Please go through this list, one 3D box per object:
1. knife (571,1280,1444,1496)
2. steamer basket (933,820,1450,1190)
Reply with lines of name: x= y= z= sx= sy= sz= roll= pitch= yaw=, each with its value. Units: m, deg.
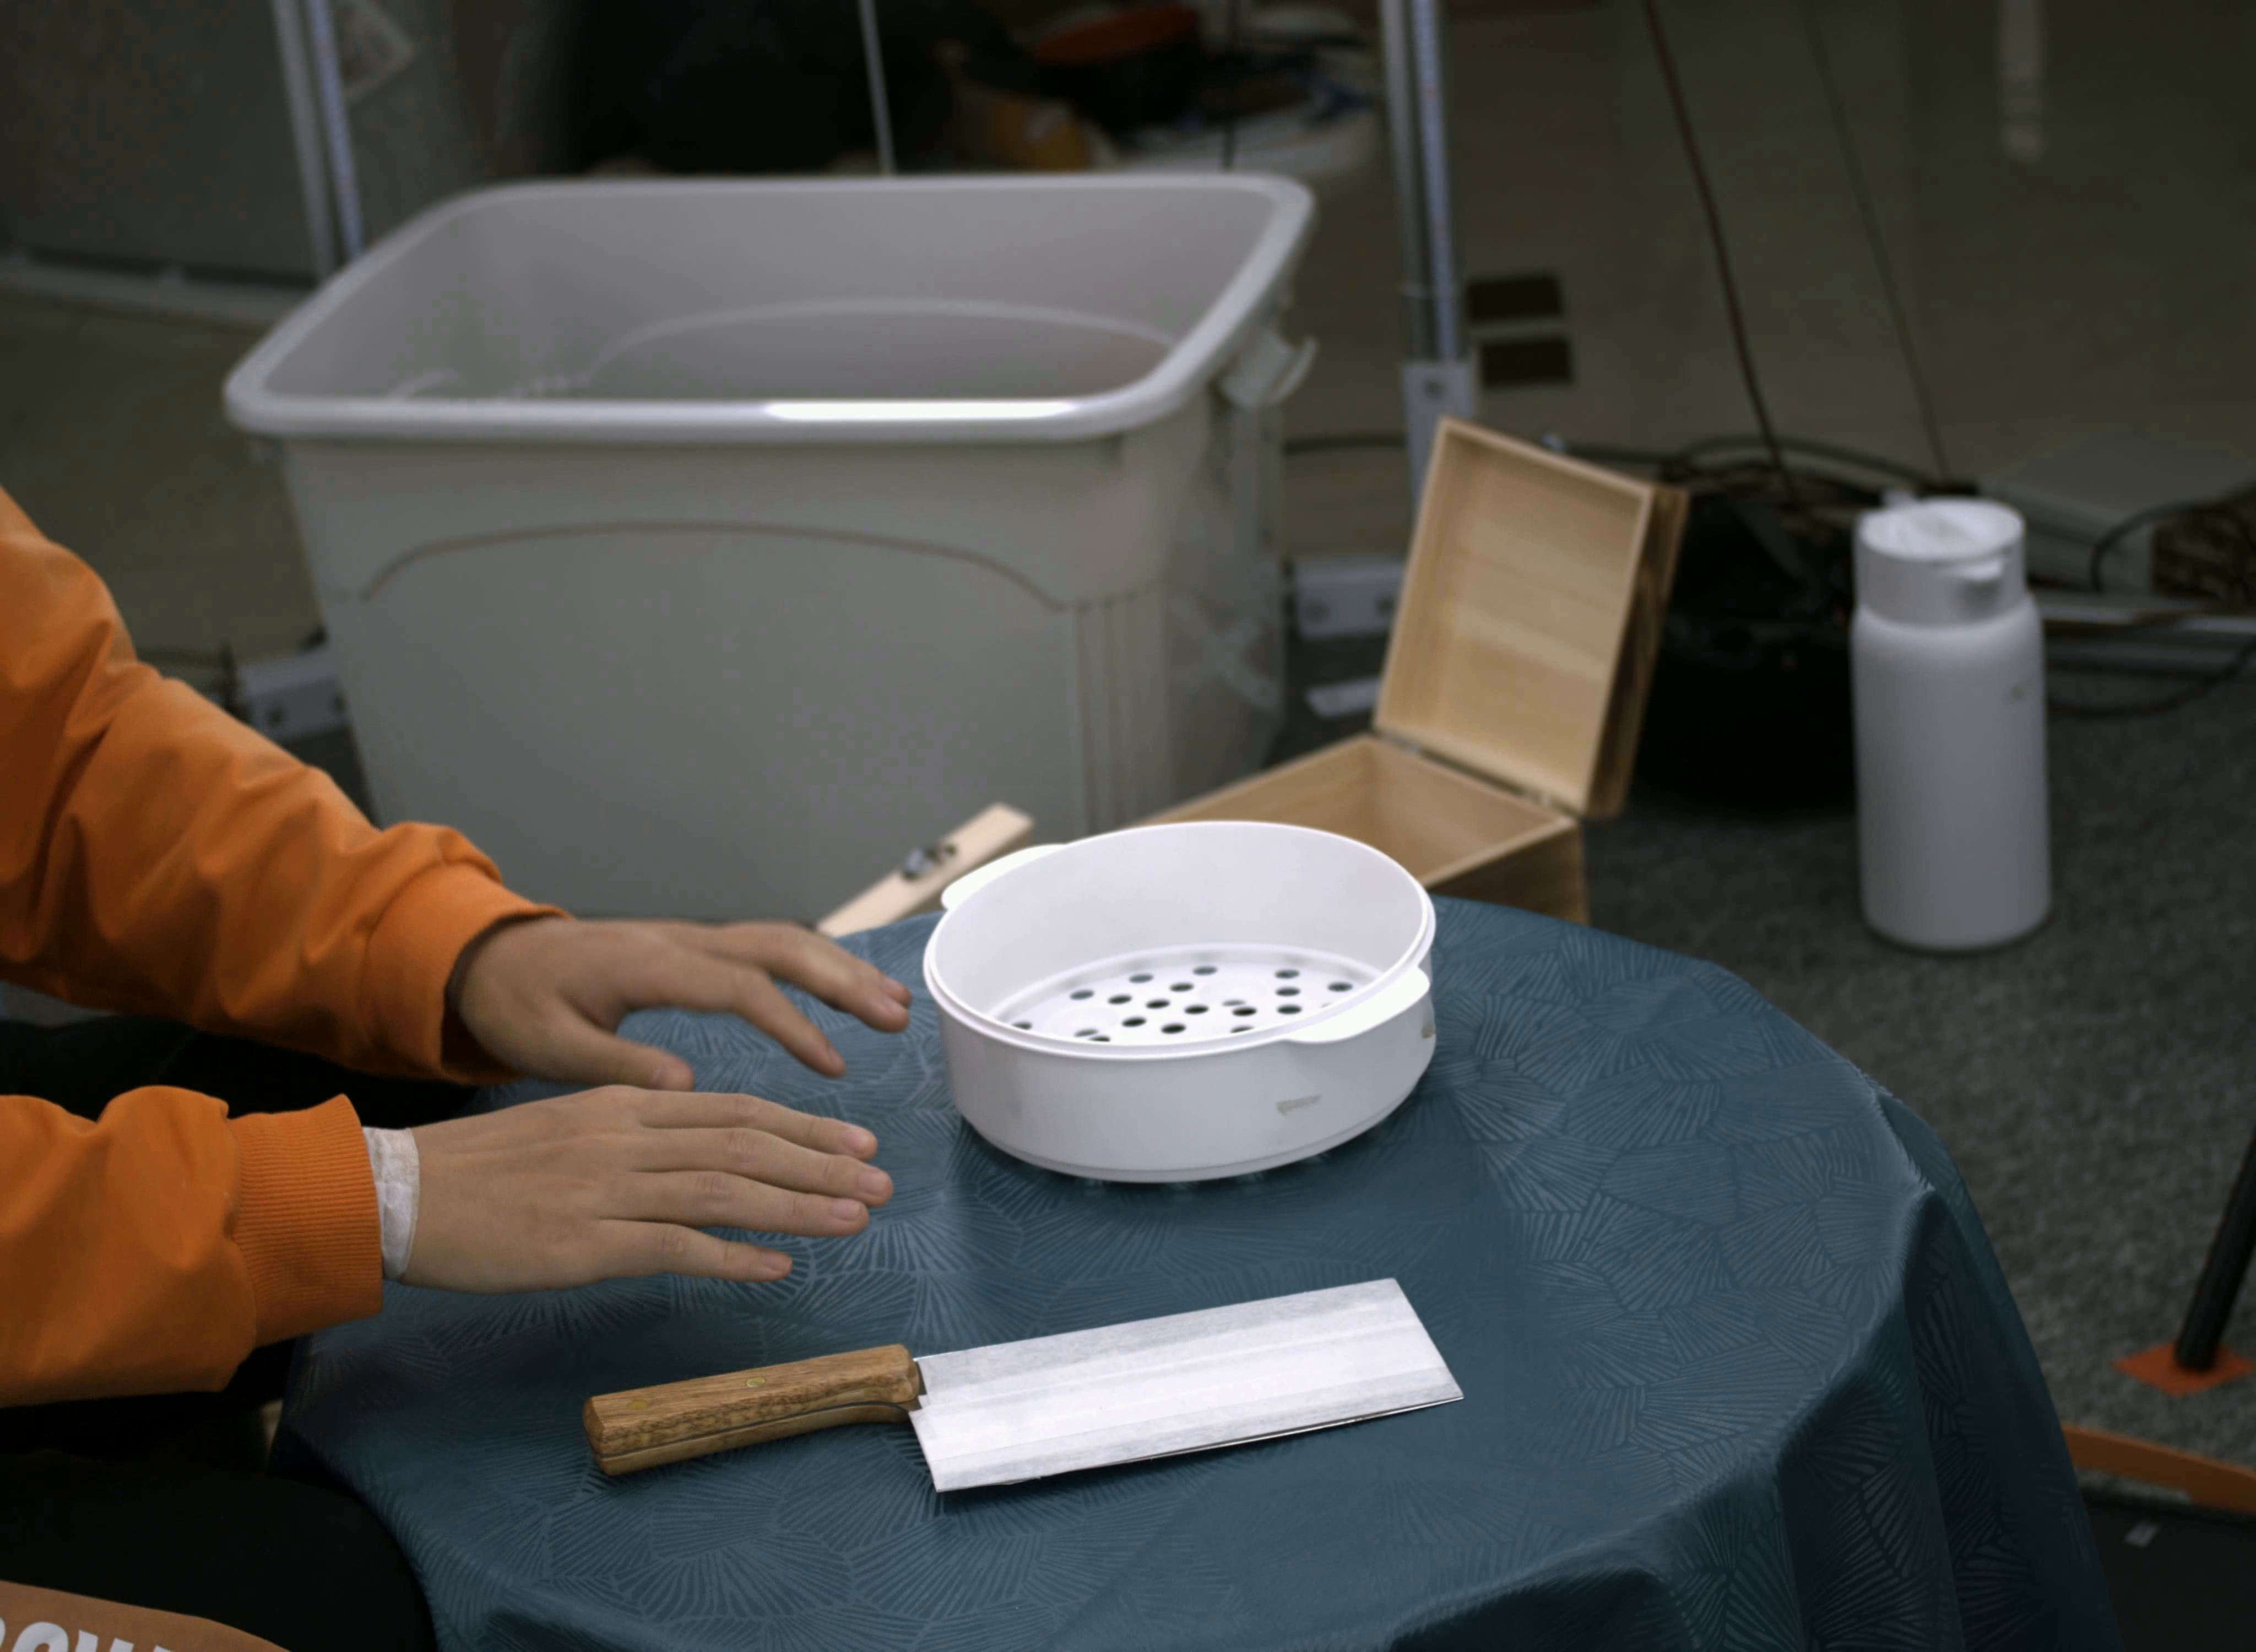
knife: x=-0.040 y=0.204 z=1.998 sx=0.305 sy=0.021 sz=0.091 roll=-9 pitch=26 yaw=-11
steamer basket: x=0.027 y=0.070 z=2.206 sx=0.200 sy=0.070 sz=0.228 roll=-28 pitch=34 yaw=-36
